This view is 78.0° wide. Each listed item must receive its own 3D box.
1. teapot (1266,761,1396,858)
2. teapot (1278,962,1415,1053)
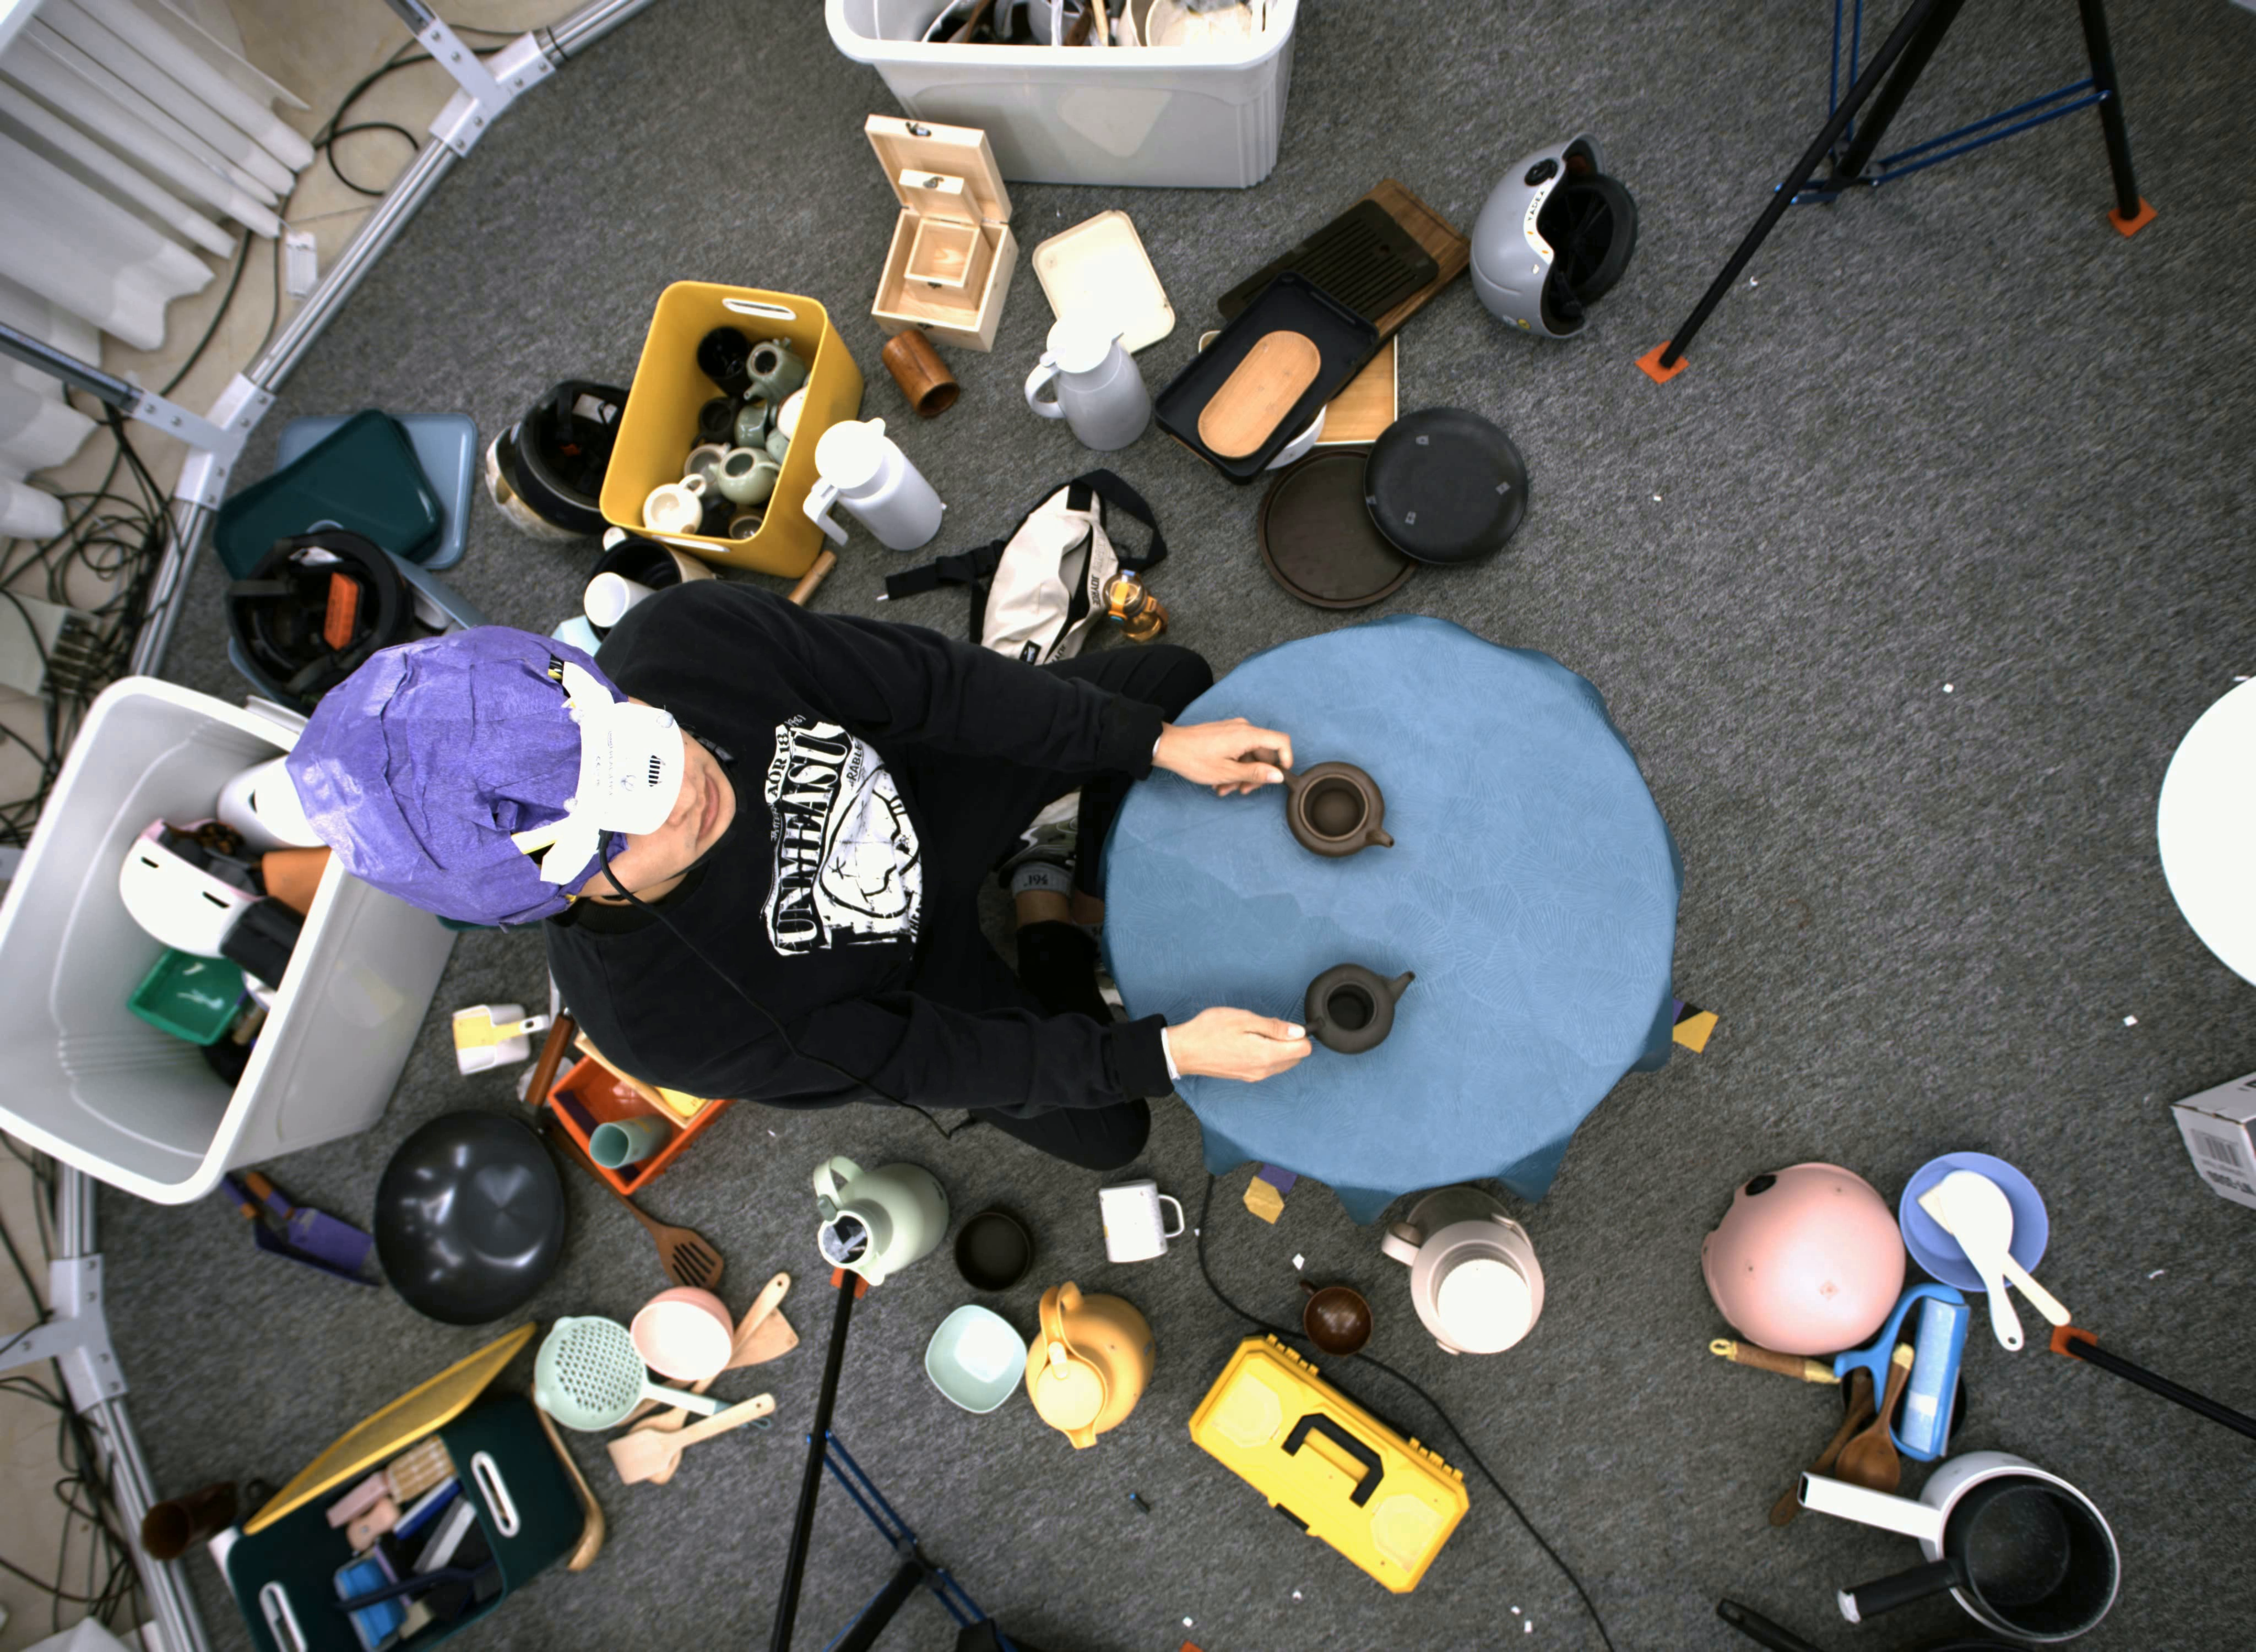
[{"bbox_3d":[0.213,-0.021,1.449,0.153,0.054,0.102,28,90,11],"label":"teapot"},{"bbox_3d":[0.223,0.187,1.420,0.154,0.065,0.091,-25,74,-2],"label":"teapot"}]
